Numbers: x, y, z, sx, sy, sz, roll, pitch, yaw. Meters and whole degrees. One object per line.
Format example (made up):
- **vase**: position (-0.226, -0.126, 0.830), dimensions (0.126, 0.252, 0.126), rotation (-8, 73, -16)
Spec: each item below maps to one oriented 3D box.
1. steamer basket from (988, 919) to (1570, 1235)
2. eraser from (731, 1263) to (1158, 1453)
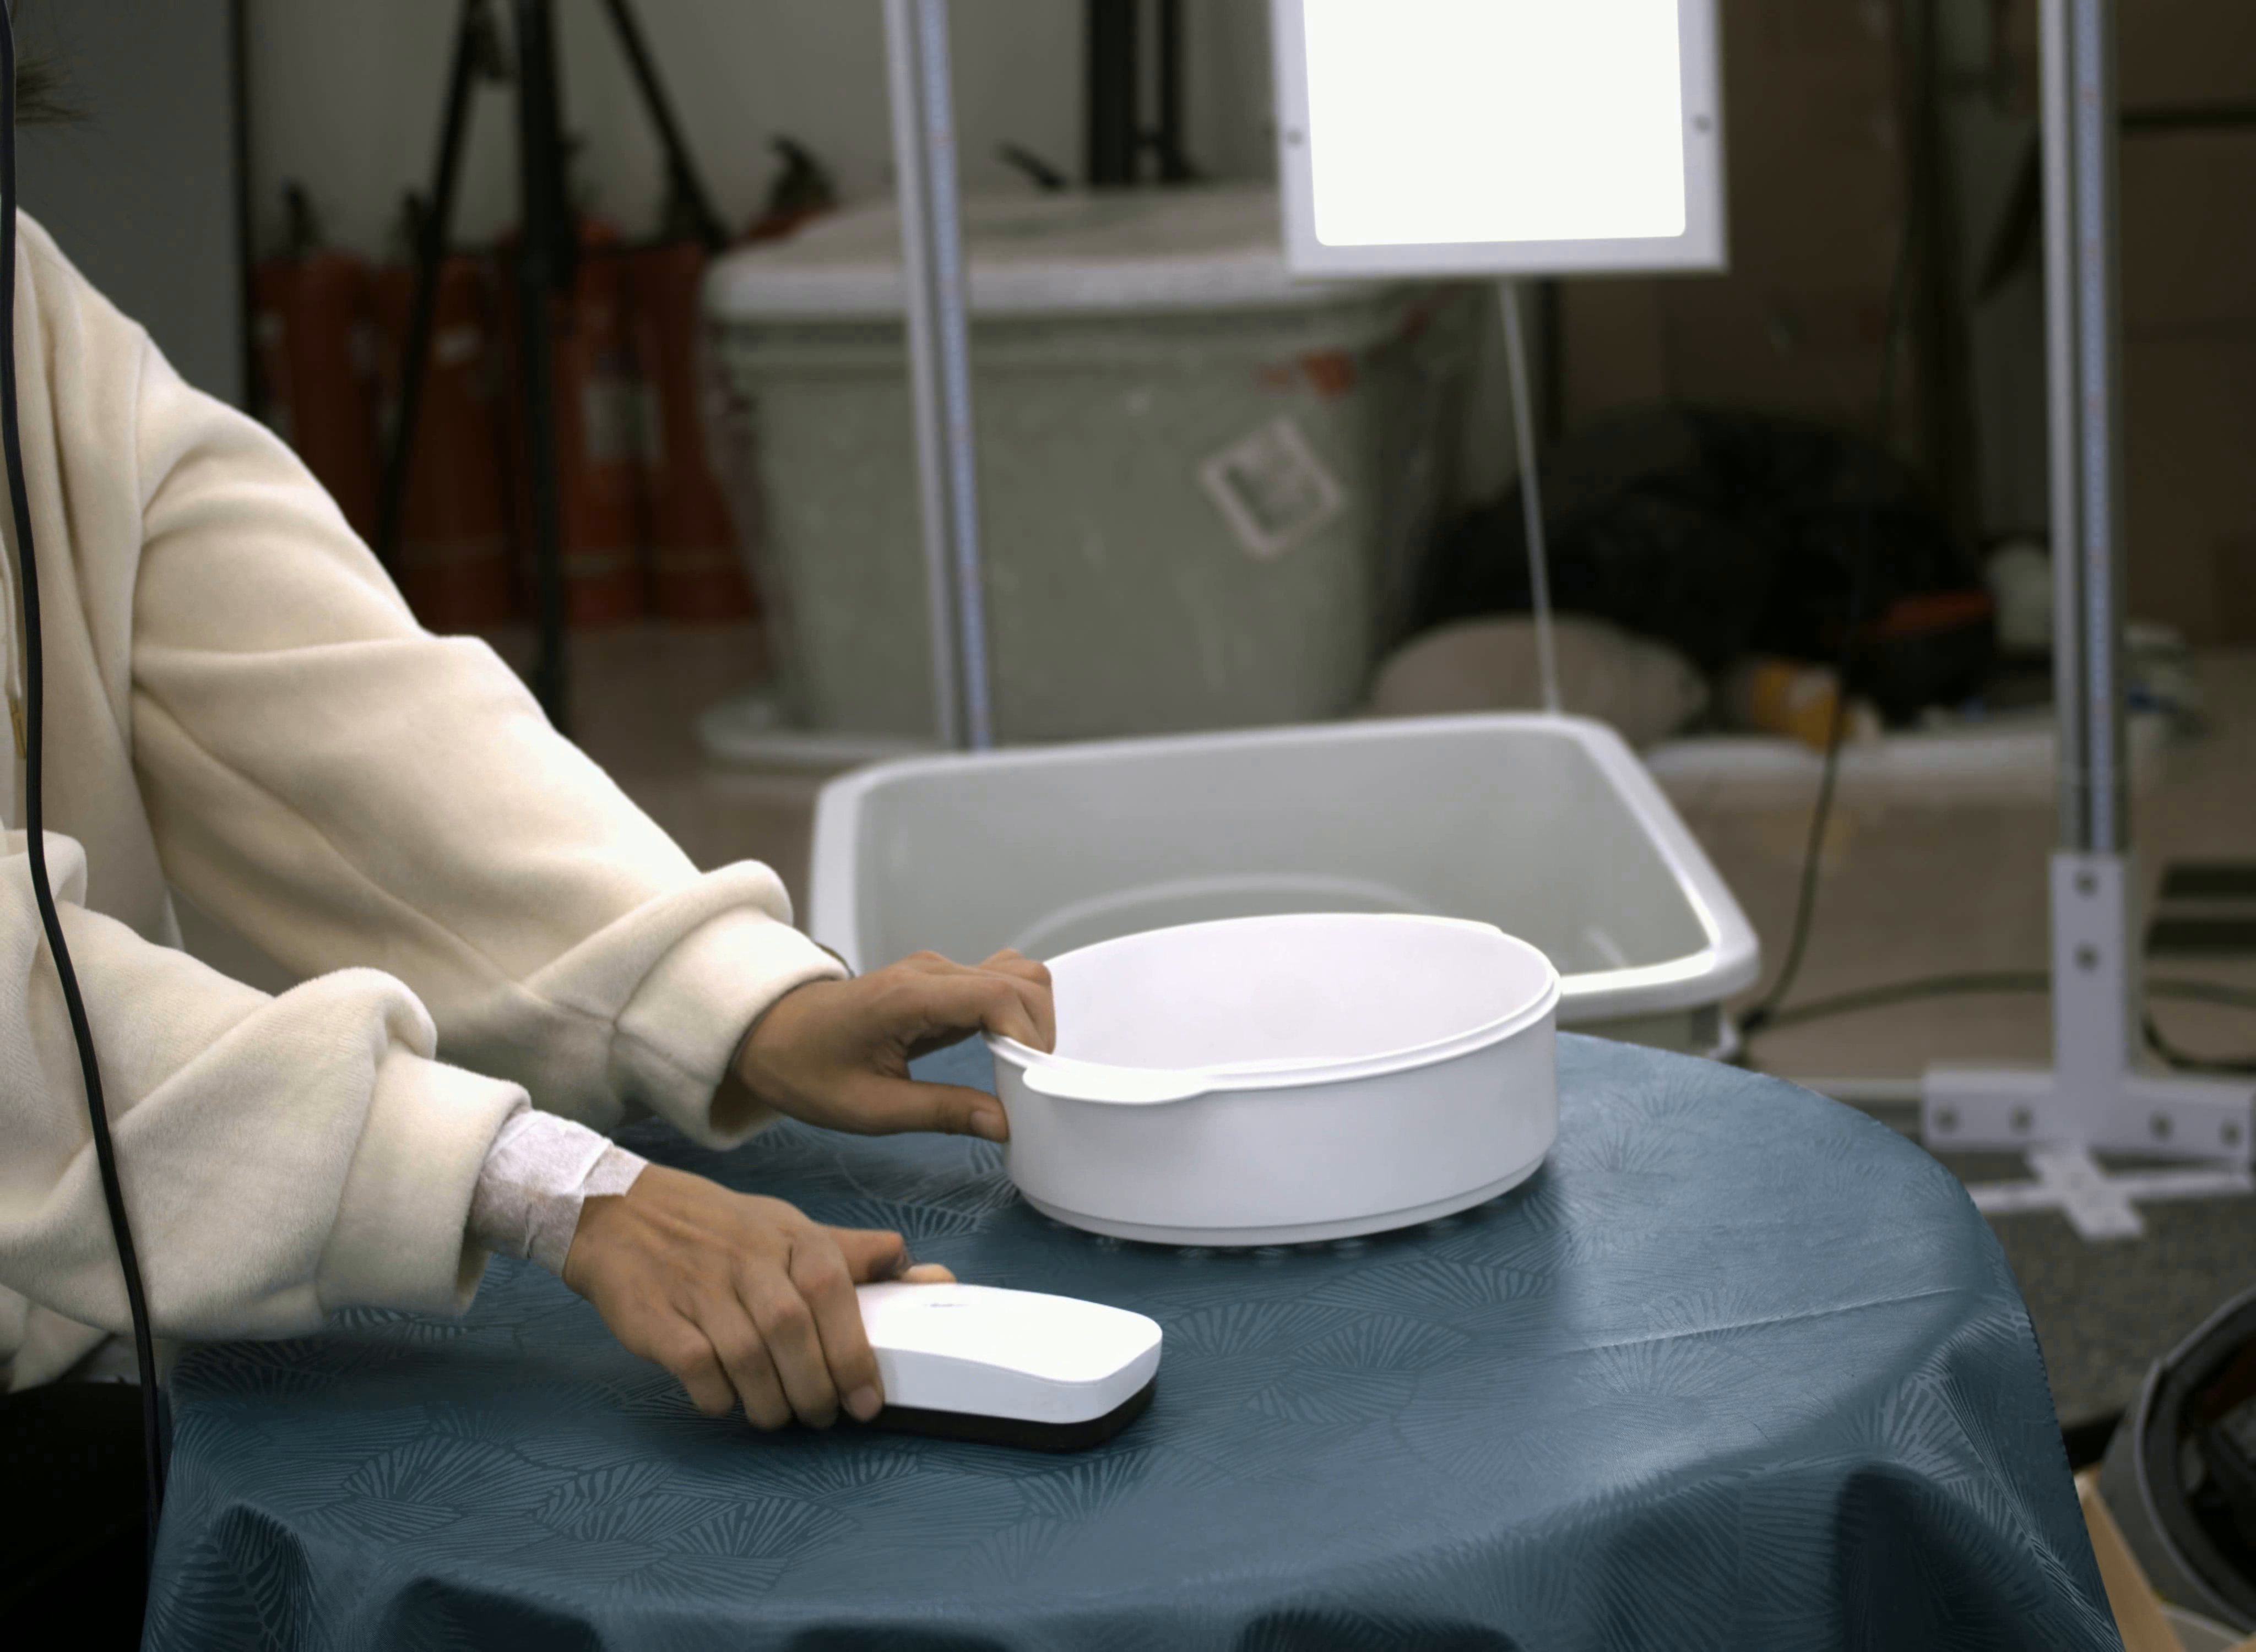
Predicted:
- **steamer basket**: position (0.054, 0.087, 1.898), dimensions (0.206, 0.069, 0.225), rotation (4, 15, 35)
- **eraser**: position (-0.056, 0.162, 1.698), dimensions (0.134, 0.034, 0.062), rotation (6, 16, 30)
